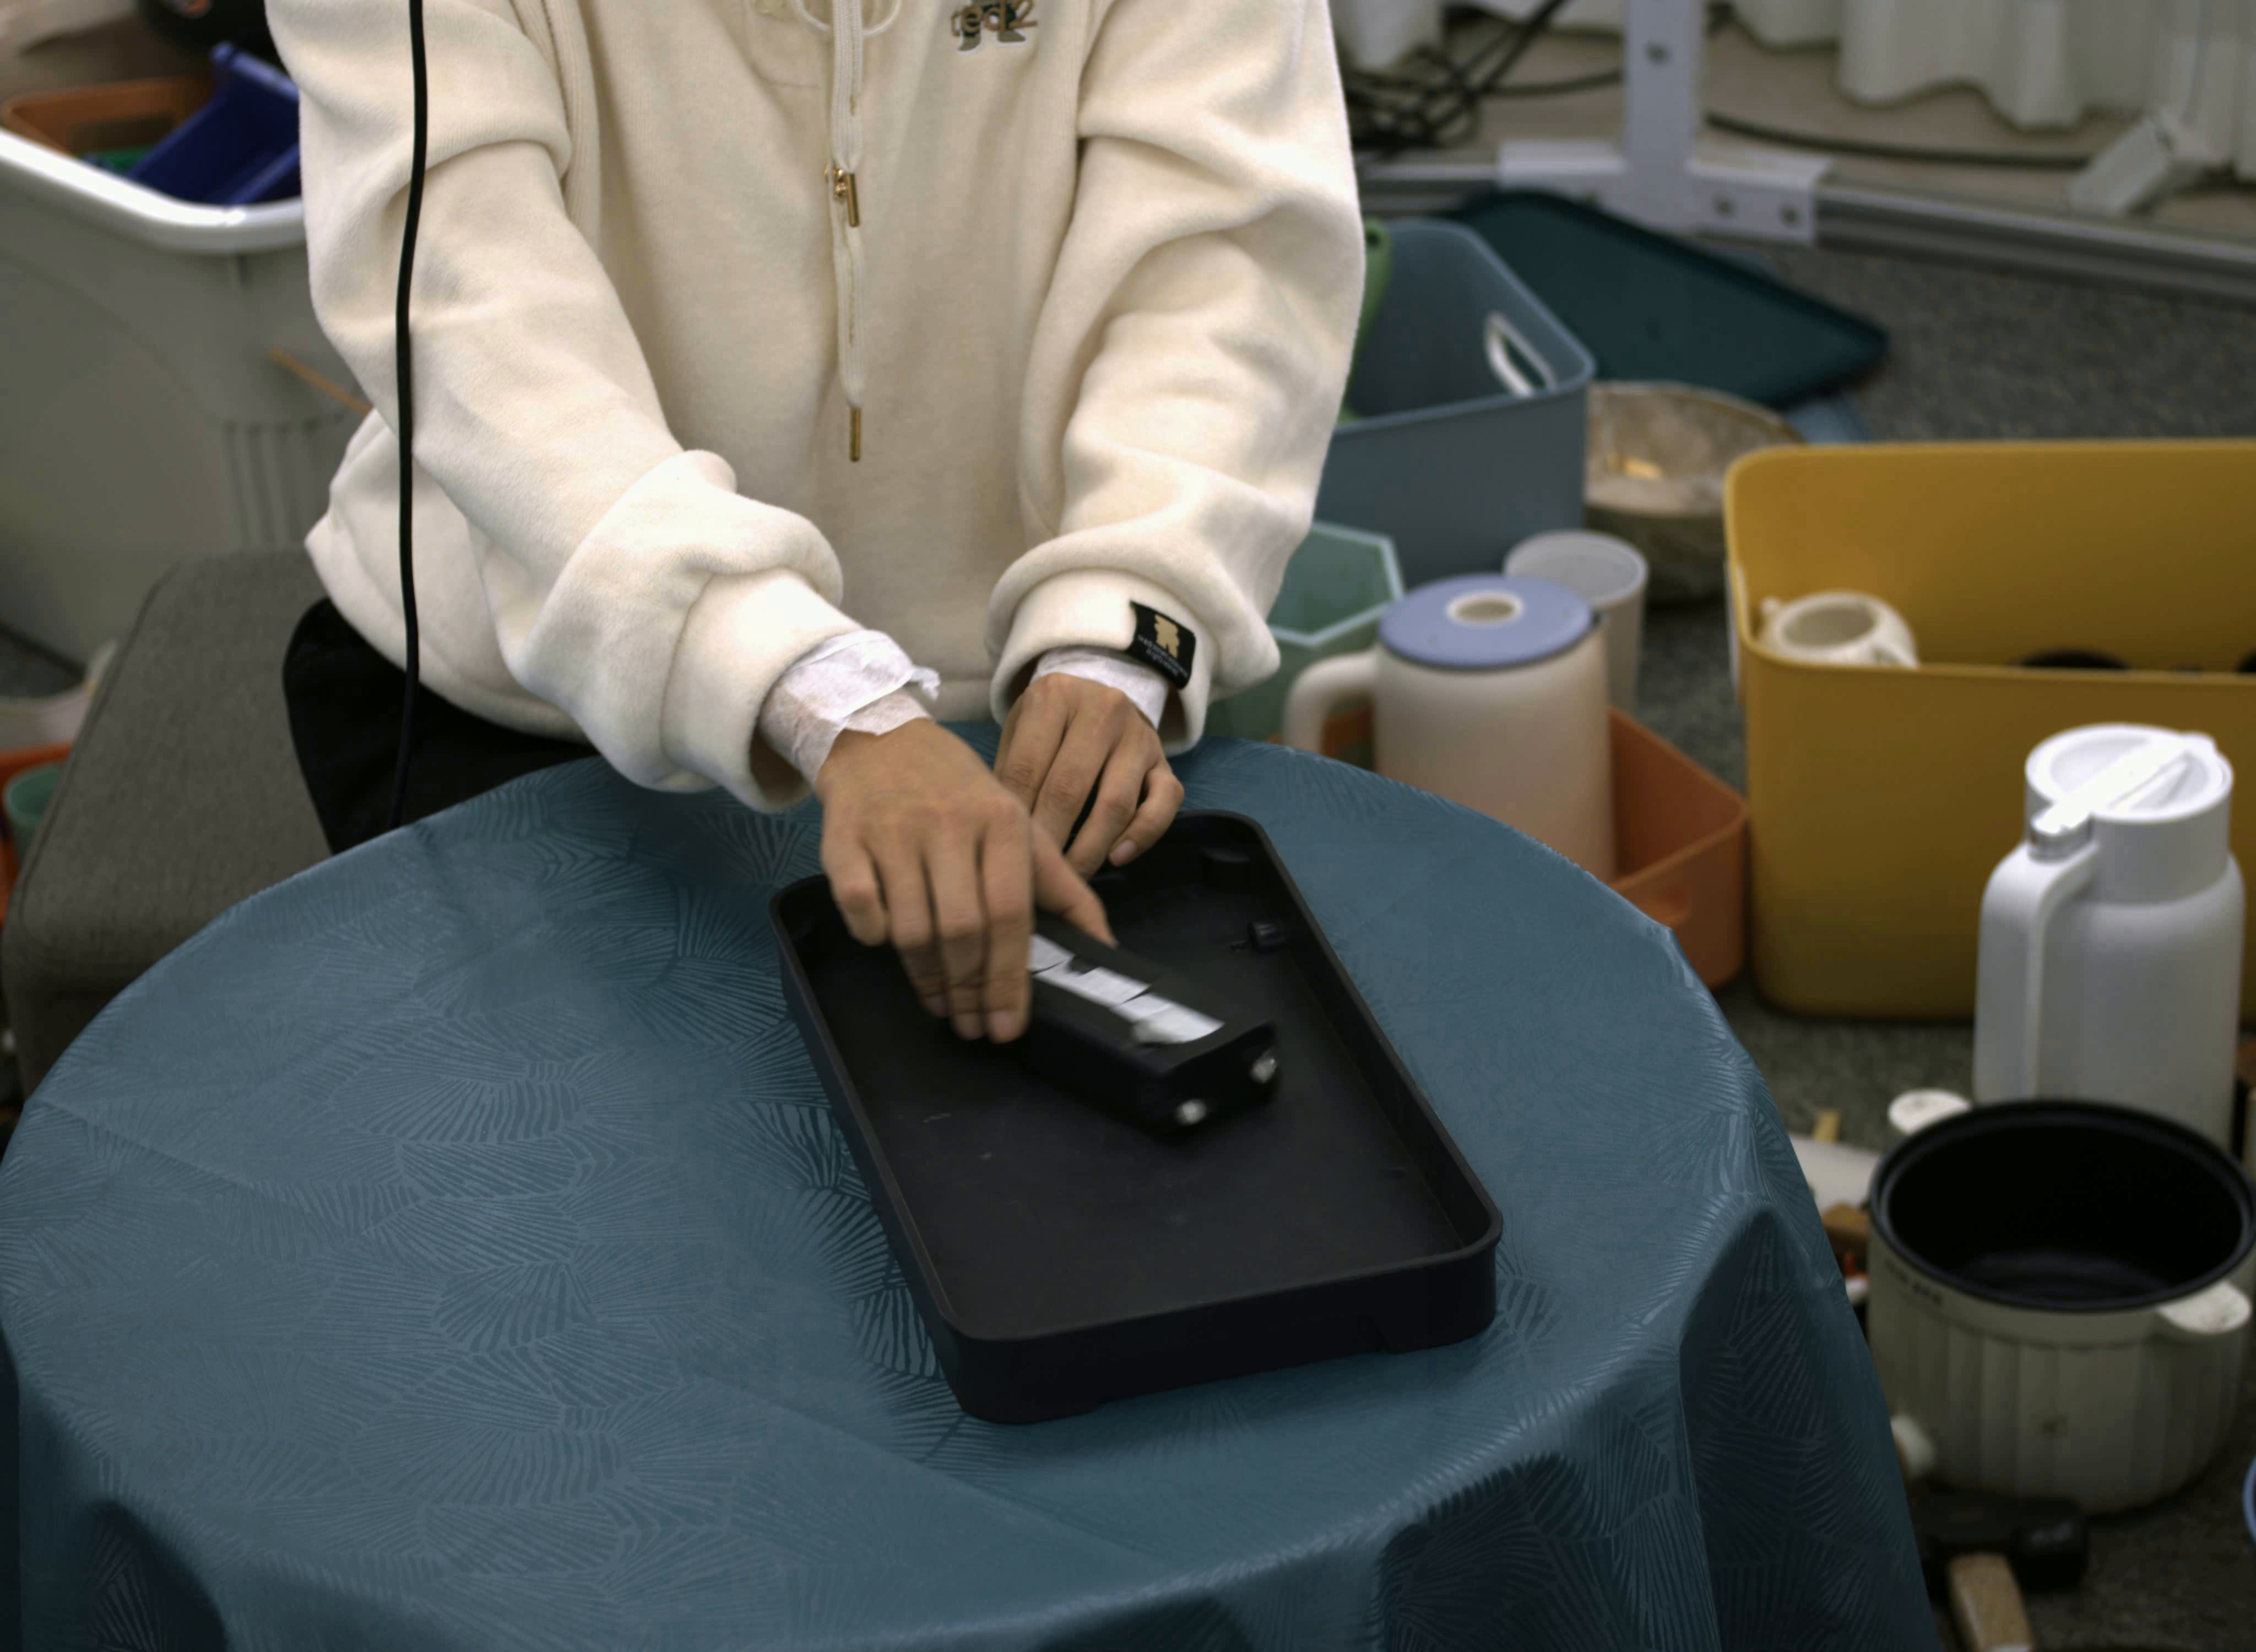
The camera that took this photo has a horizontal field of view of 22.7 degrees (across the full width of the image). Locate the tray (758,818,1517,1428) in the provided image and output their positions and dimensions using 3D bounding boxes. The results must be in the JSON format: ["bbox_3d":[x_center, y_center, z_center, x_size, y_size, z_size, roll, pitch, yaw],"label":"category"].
[{"bbox_3d":[-0.003,0.093,1.878,0.184,0.036,0.321,-10,28,-13],"label":"tray"}]

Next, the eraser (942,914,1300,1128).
[{"bbox_3d":[-0.003,0.066,1.929,0.125,0.030,0.054,22,30,40],"label":"eraser"}]
